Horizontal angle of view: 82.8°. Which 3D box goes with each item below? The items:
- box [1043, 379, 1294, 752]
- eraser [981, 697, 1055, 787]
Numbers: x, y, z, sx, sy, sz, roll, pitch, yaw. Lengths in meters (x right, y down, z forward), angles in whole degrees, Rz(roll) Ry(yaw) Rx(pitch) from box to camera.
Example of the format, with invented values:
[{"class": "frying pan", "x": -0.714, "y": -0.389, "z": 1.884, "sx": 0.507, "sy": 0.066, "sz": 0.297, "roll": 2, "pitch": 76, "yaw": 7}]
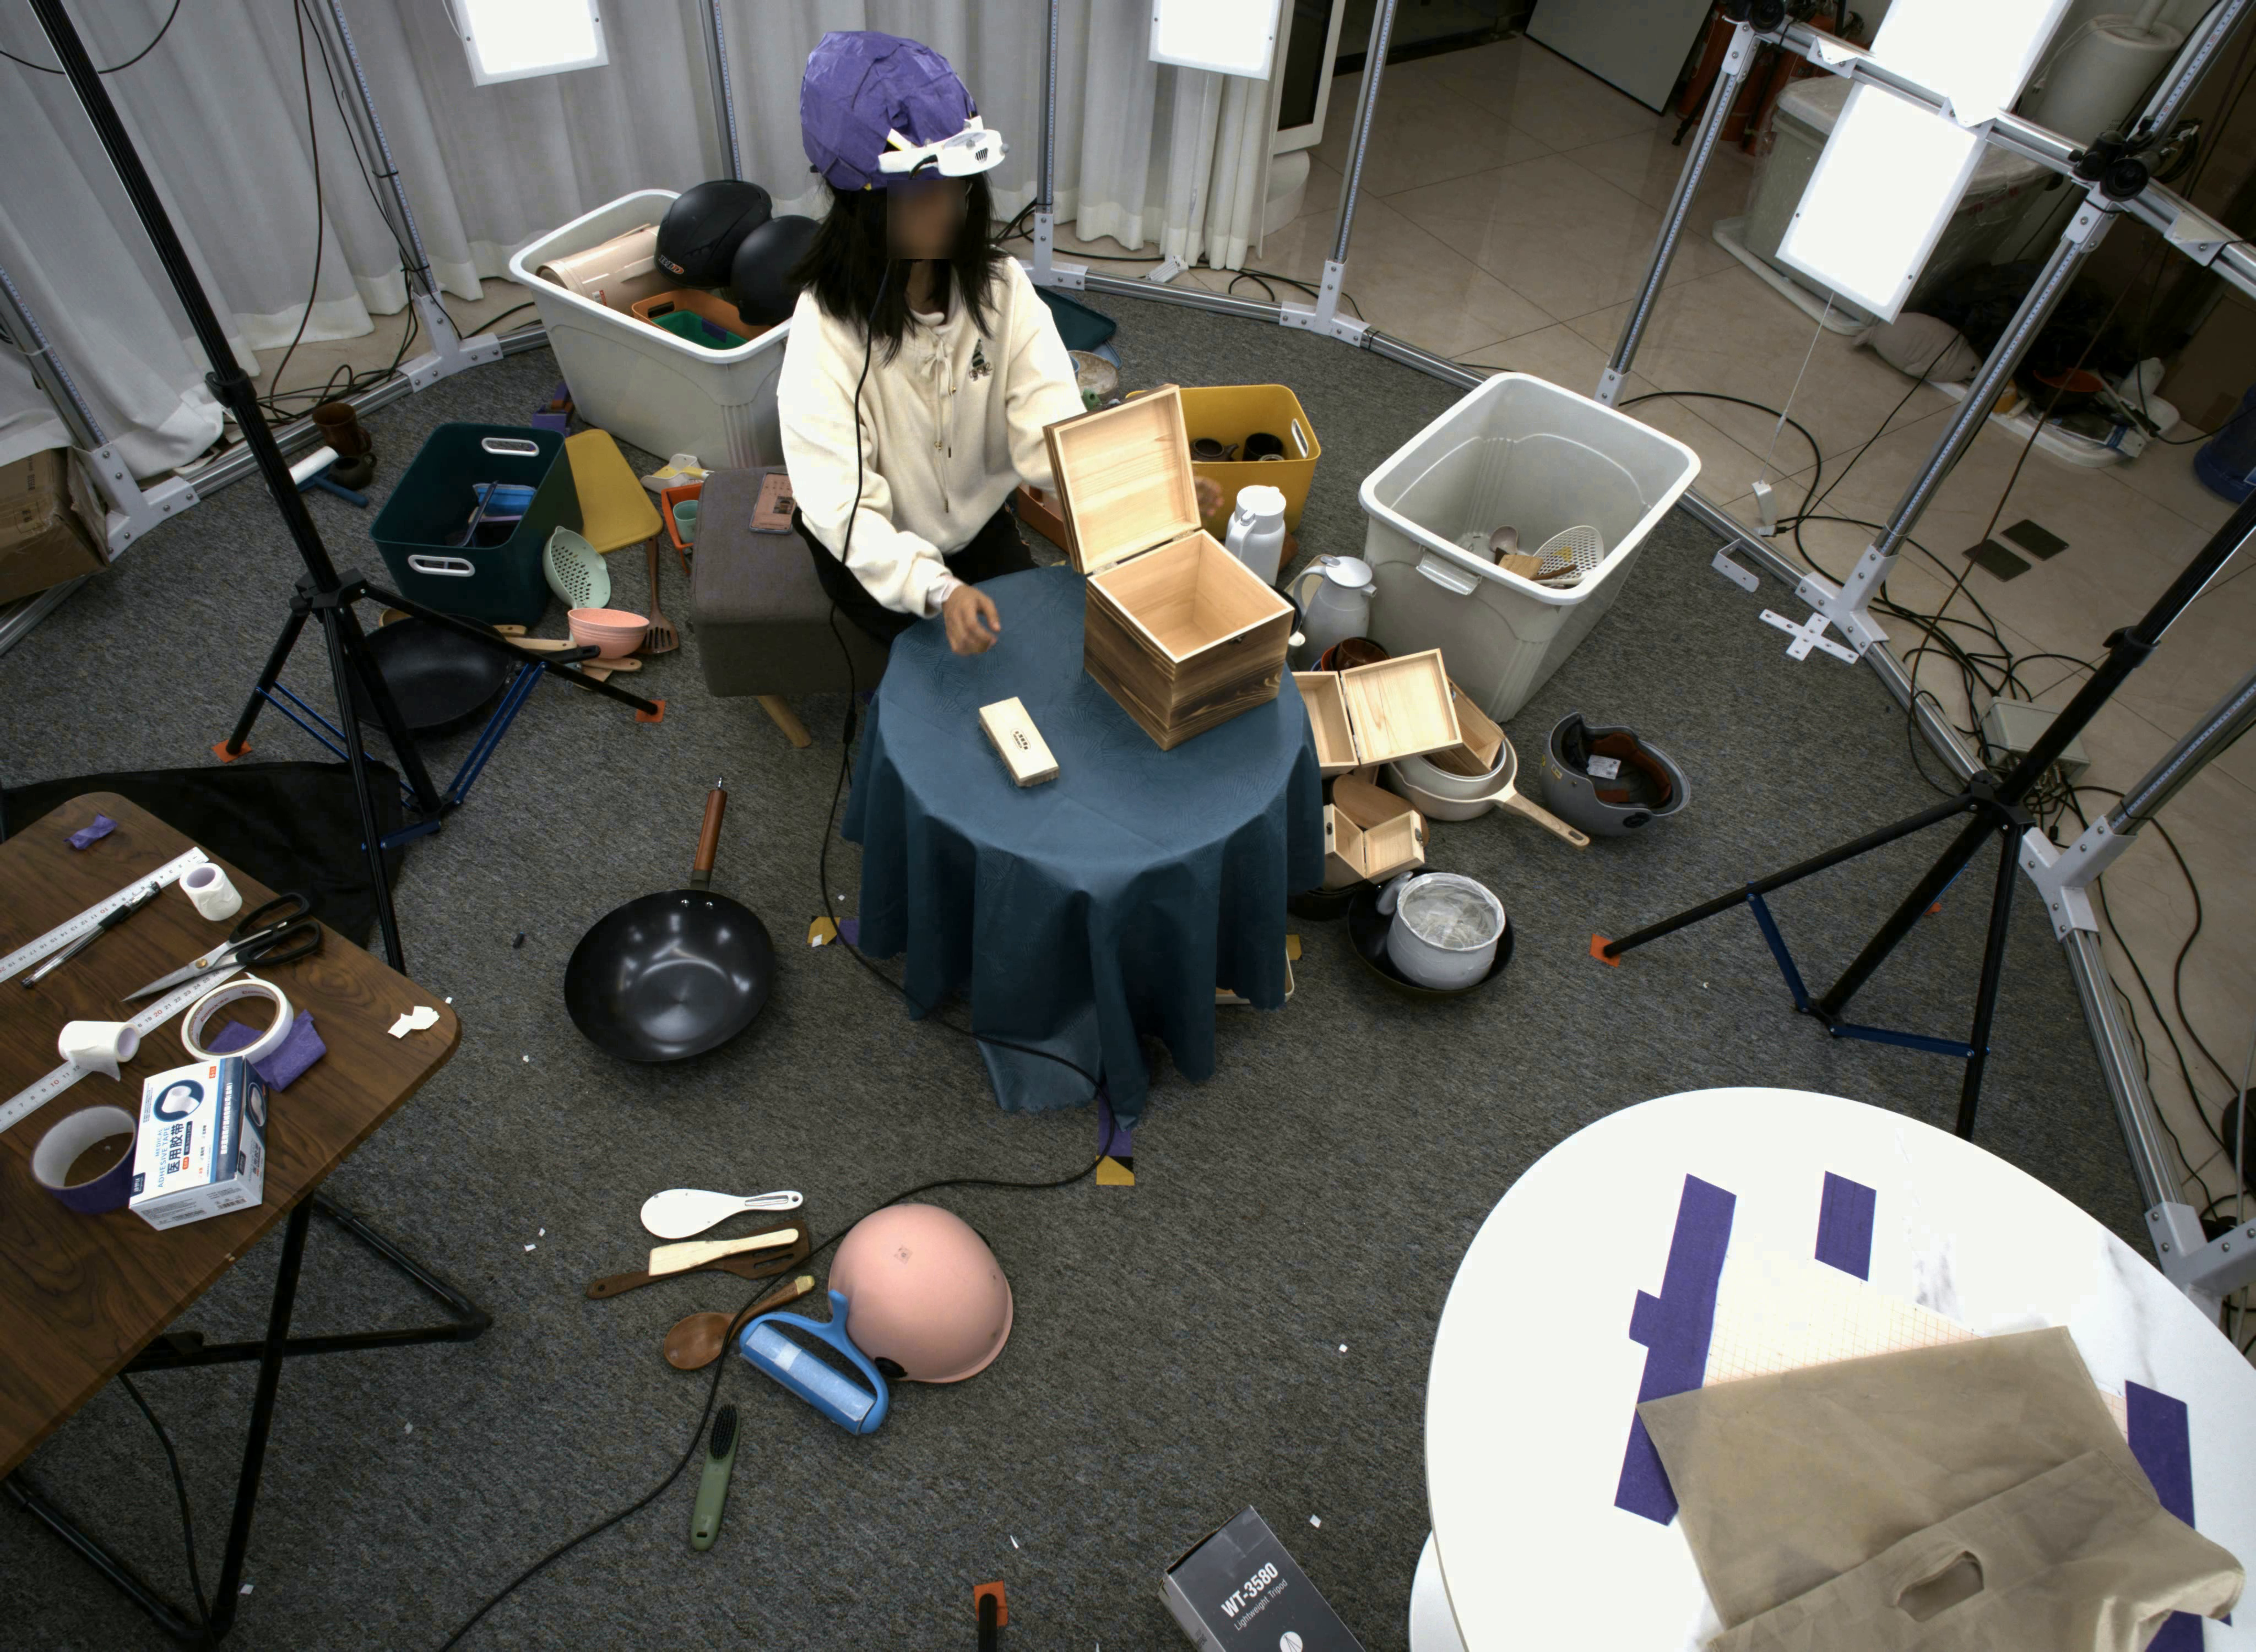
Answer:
[{"class": "box", "x": 0.052, "y": -0.354, "z": 1.746, "sx": 0.210, "sy": 0.366, "sz": 0.328, "roll": -28, "pitch": 57, "yaw": -24}, {"class": "eraser", "x": -0.149, "y": -0.113, "z": 1.739, "sx": 0.057, "sy": 0.028, "sz": 0.142, "roll": -19, "pitch": 52, "yaw": -16}]
